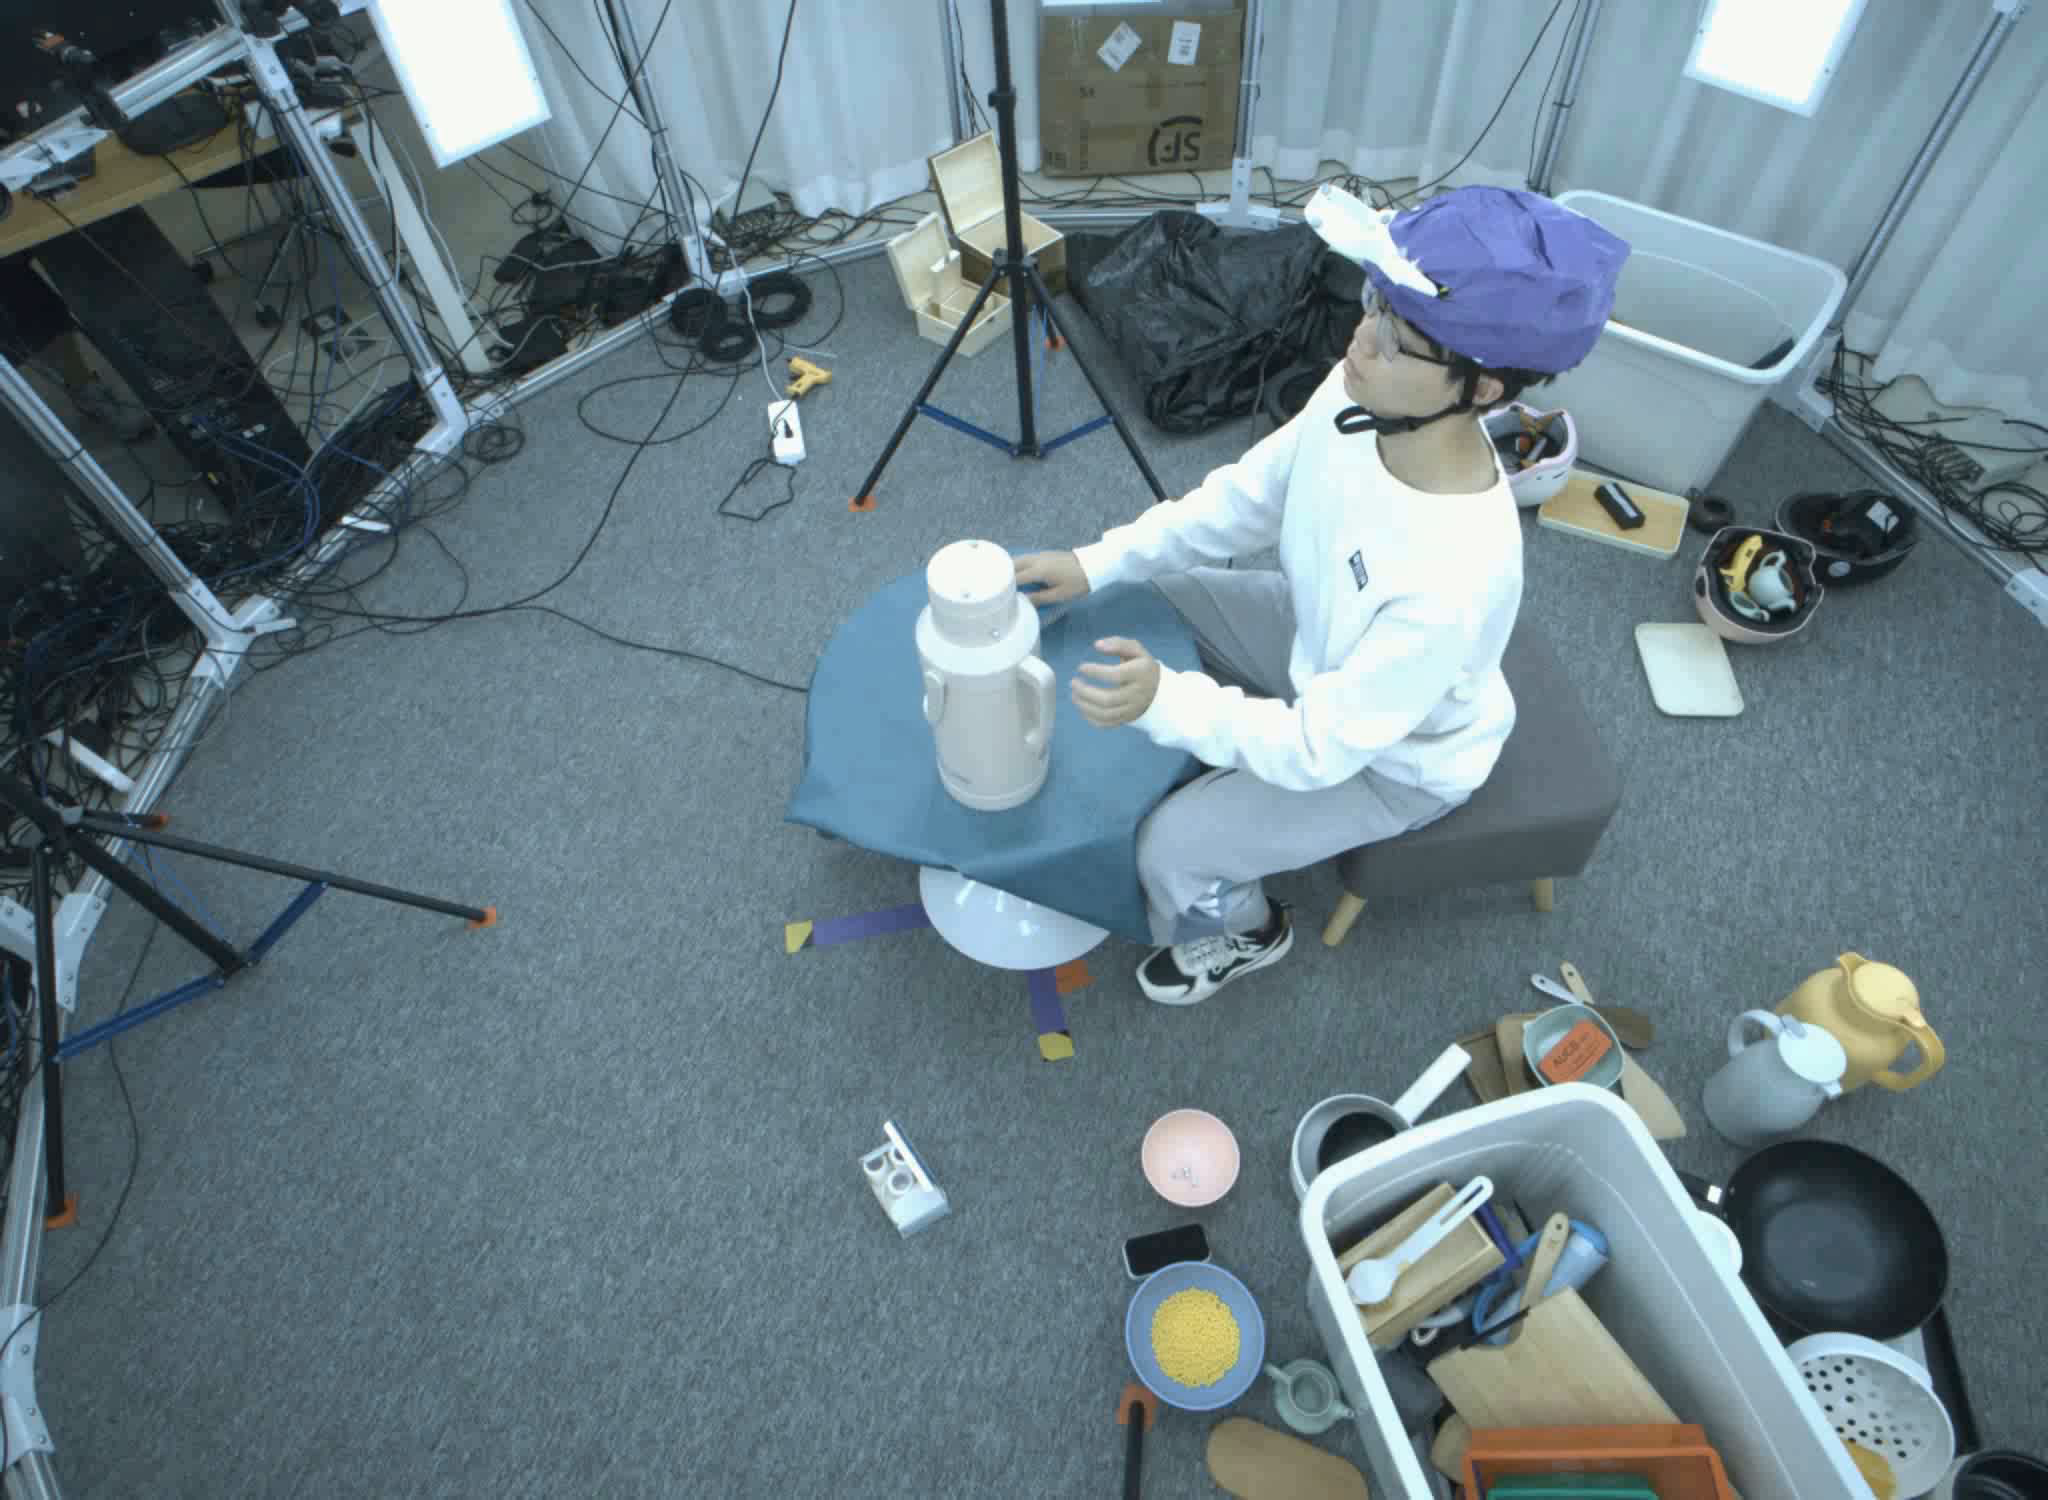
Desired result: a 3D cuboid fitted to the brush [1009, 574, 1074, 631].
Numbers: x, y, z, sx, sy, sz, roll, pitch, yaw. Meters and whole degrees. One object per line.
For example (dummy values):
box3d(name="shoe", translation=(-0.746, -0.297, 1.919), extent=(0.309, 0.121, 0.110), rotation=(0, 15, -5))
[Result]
box3d(name="brush", translation=(0.009, -0.233, 1.909), extent=(0.143, 0.064, 0.082), rotation=(-31, 55, -19))

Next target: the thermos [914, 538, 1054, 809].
box3d(name="thermos", translation=(-0.045, -0.088, 1.603), extent=(0.203, 0.410, 0.176), rotation=(32, 61, 23))
